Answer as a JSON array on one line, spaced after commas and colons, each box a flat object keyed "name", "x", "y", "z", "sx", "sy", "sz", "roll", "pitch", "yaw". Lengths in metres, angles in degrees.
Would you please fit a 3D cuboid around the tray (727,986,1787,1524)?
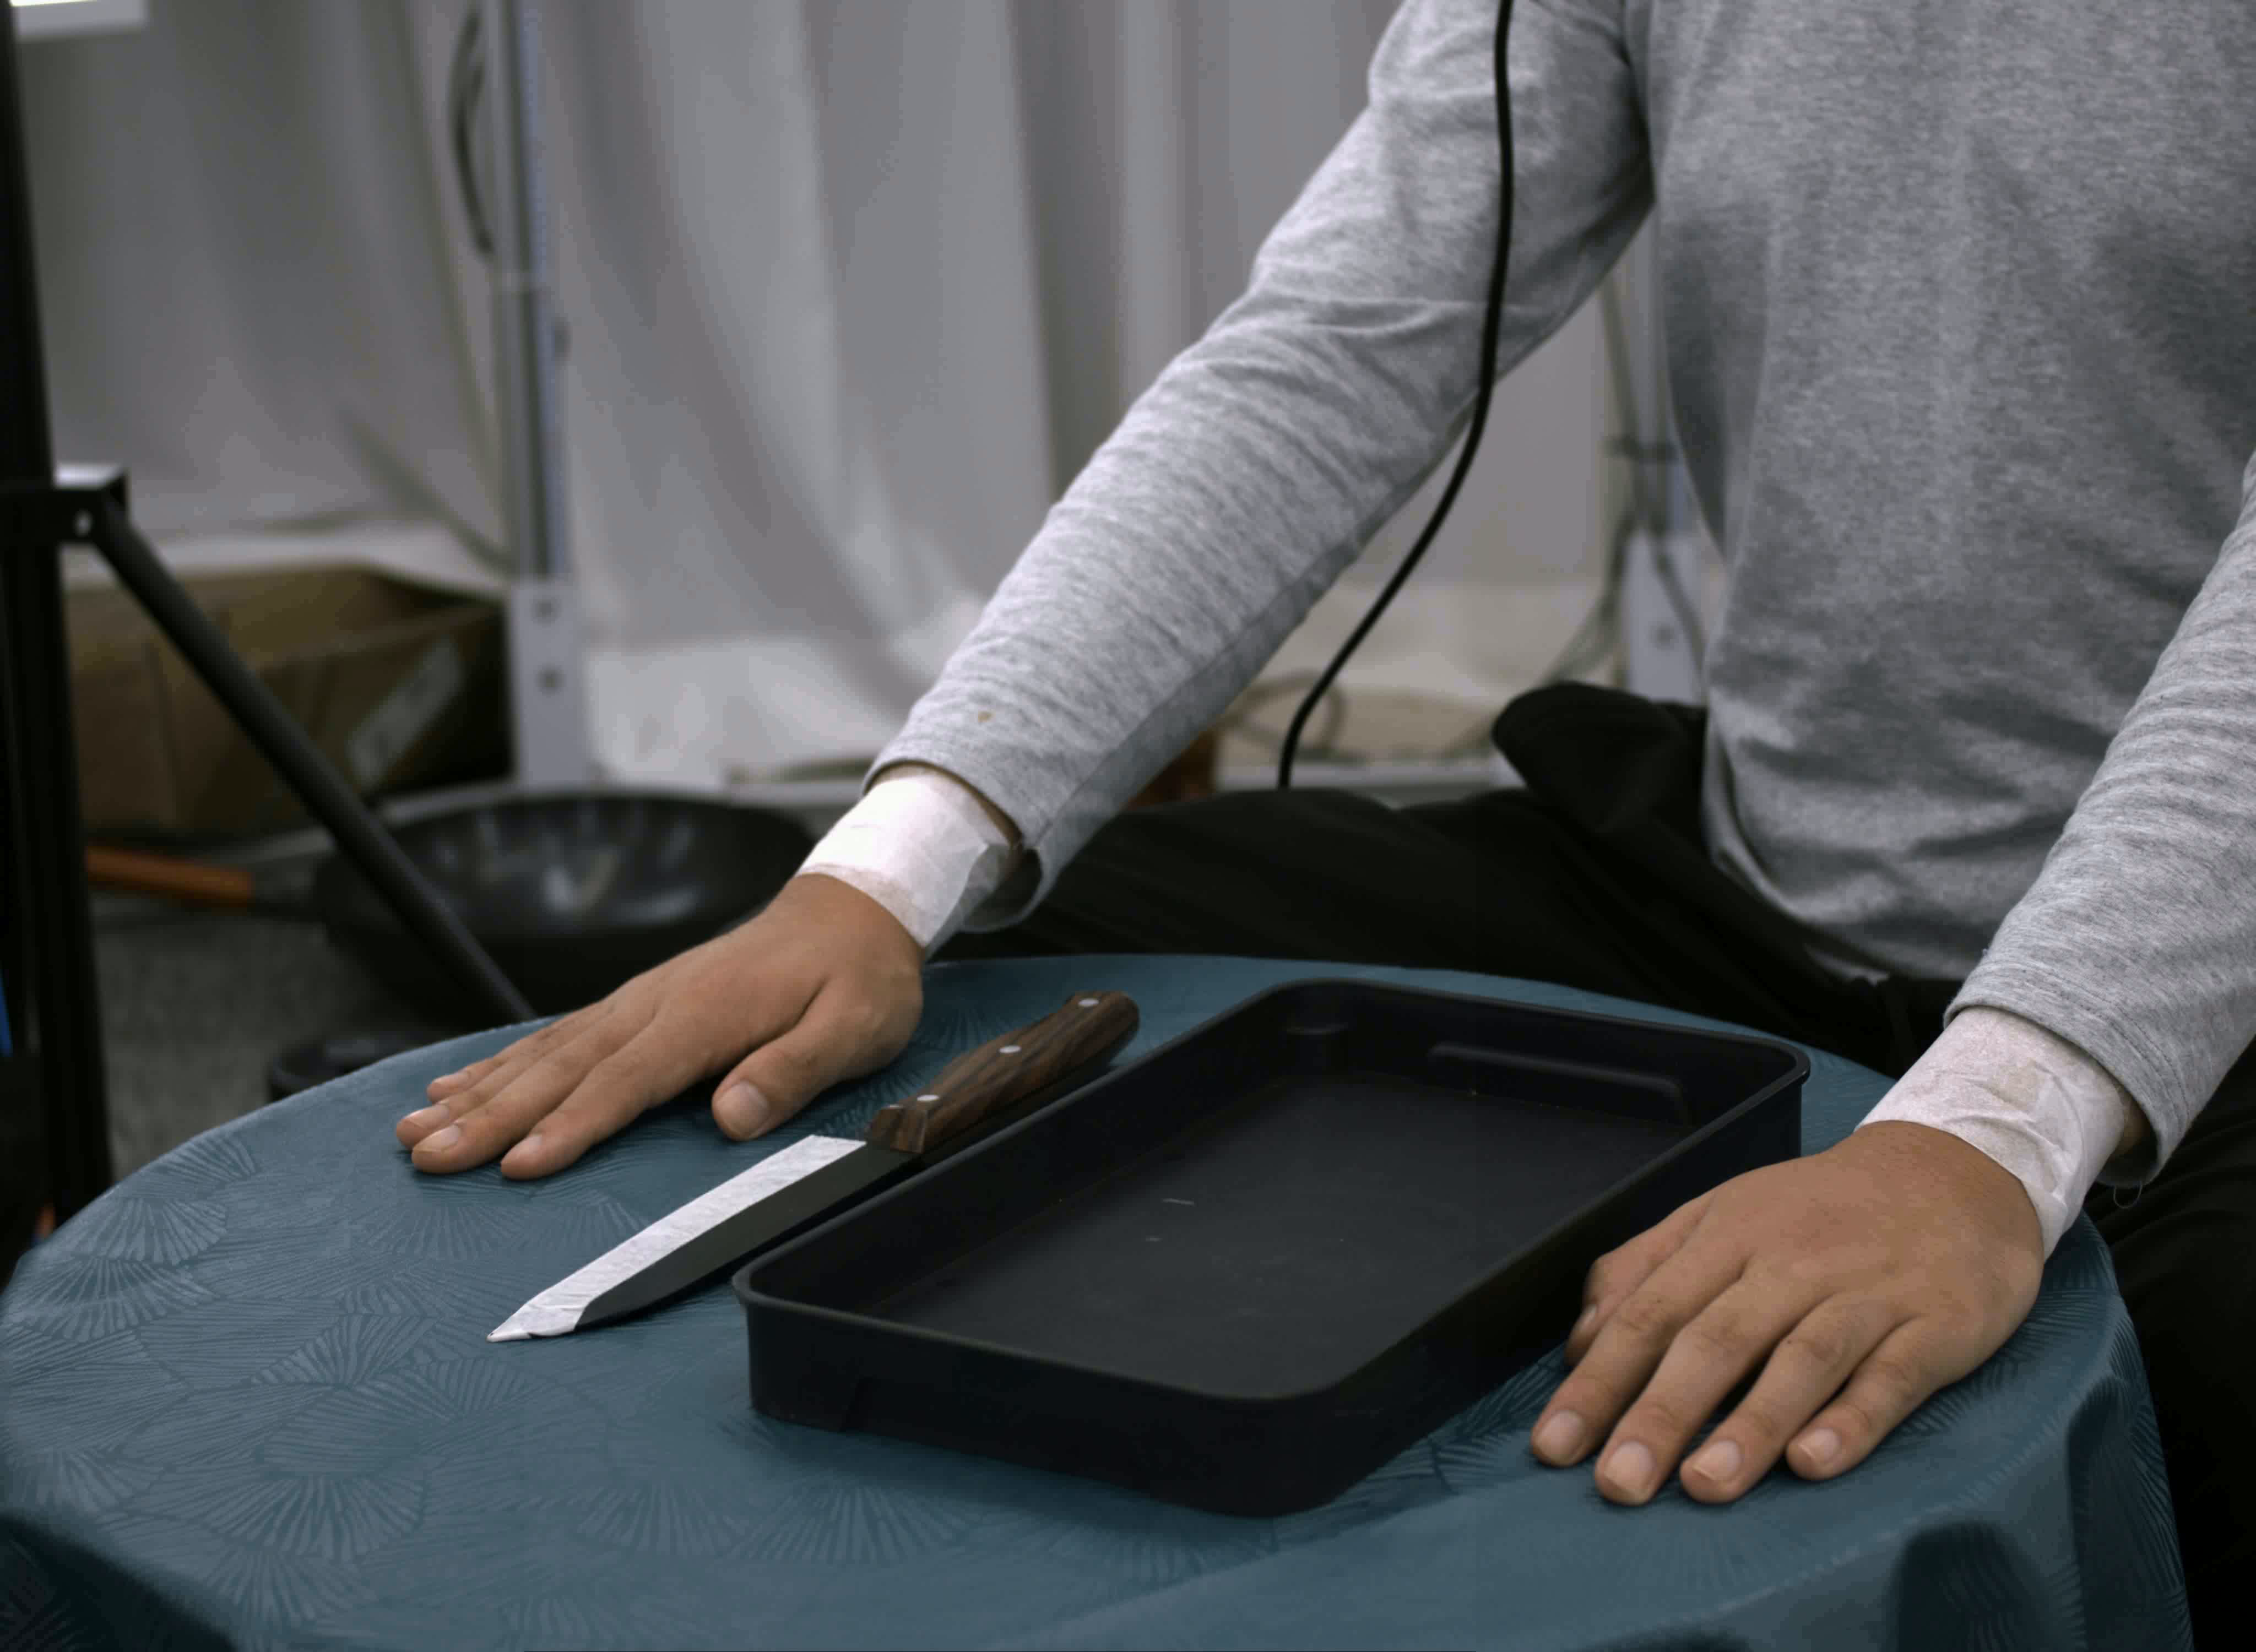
[{"name": "tray", "x": 0.044, "y": 0.112, "z": 1.478, "sx": 0.187, "sy": 0.037, "sz": 0.312, "roll": 7, "pitch": 18, "yaw": 30}]

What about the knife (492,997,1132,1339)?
[{"name": "knife", "x": -0.088, "y": 0.102, "z": 1.572, "sx": 0.051, "sy": 0.020, "sz": 0.283, "roll": 4, "pitch": 19, "yaw": 37}]
